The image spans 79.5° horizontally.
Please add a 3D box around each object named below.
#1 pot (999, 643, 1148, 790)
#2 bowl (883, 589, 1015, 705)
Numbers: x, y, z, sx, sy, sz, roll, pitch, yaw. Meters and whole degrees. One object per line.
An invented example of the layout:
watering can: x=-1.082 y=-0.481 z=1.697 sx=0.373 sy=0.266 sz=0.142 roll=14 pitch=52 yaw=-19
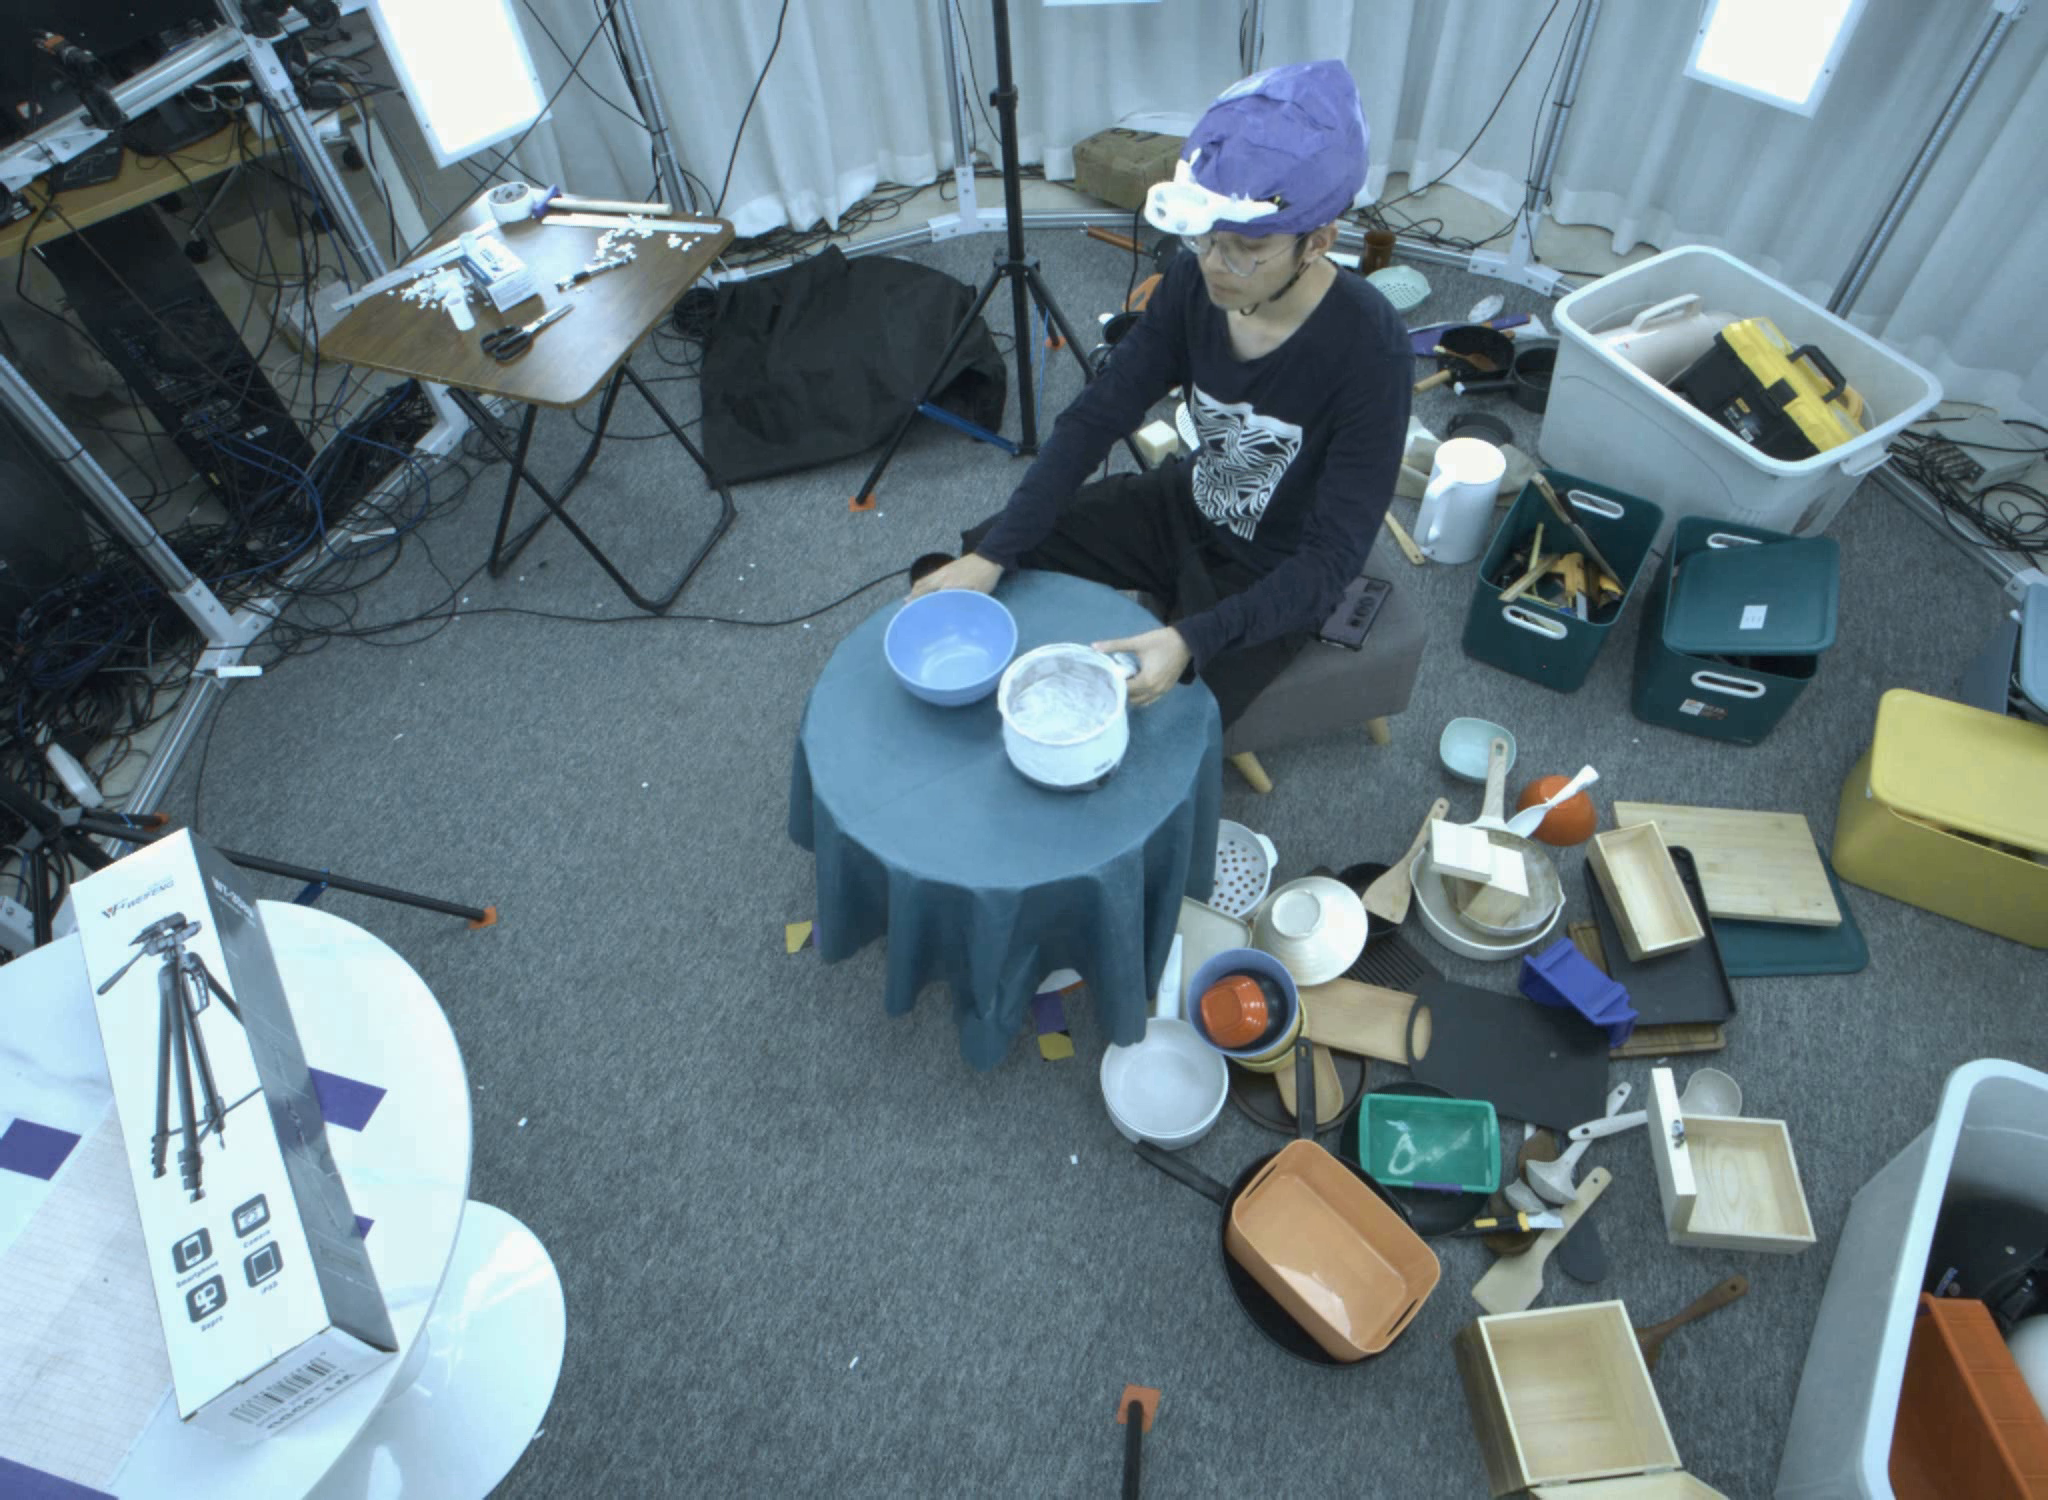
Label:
pot: x=0.079 y=-0.057 z=1.747 sx=0.235 sy=0.138 sz=0.175 roll=-35 pitch=63 yaw=-19
bowl: x=-0.105 y=-0.139 z=1.834 sx=0.196 sy=0.097 sz=0.194 roll=-3 pitch=55 yaw=5
